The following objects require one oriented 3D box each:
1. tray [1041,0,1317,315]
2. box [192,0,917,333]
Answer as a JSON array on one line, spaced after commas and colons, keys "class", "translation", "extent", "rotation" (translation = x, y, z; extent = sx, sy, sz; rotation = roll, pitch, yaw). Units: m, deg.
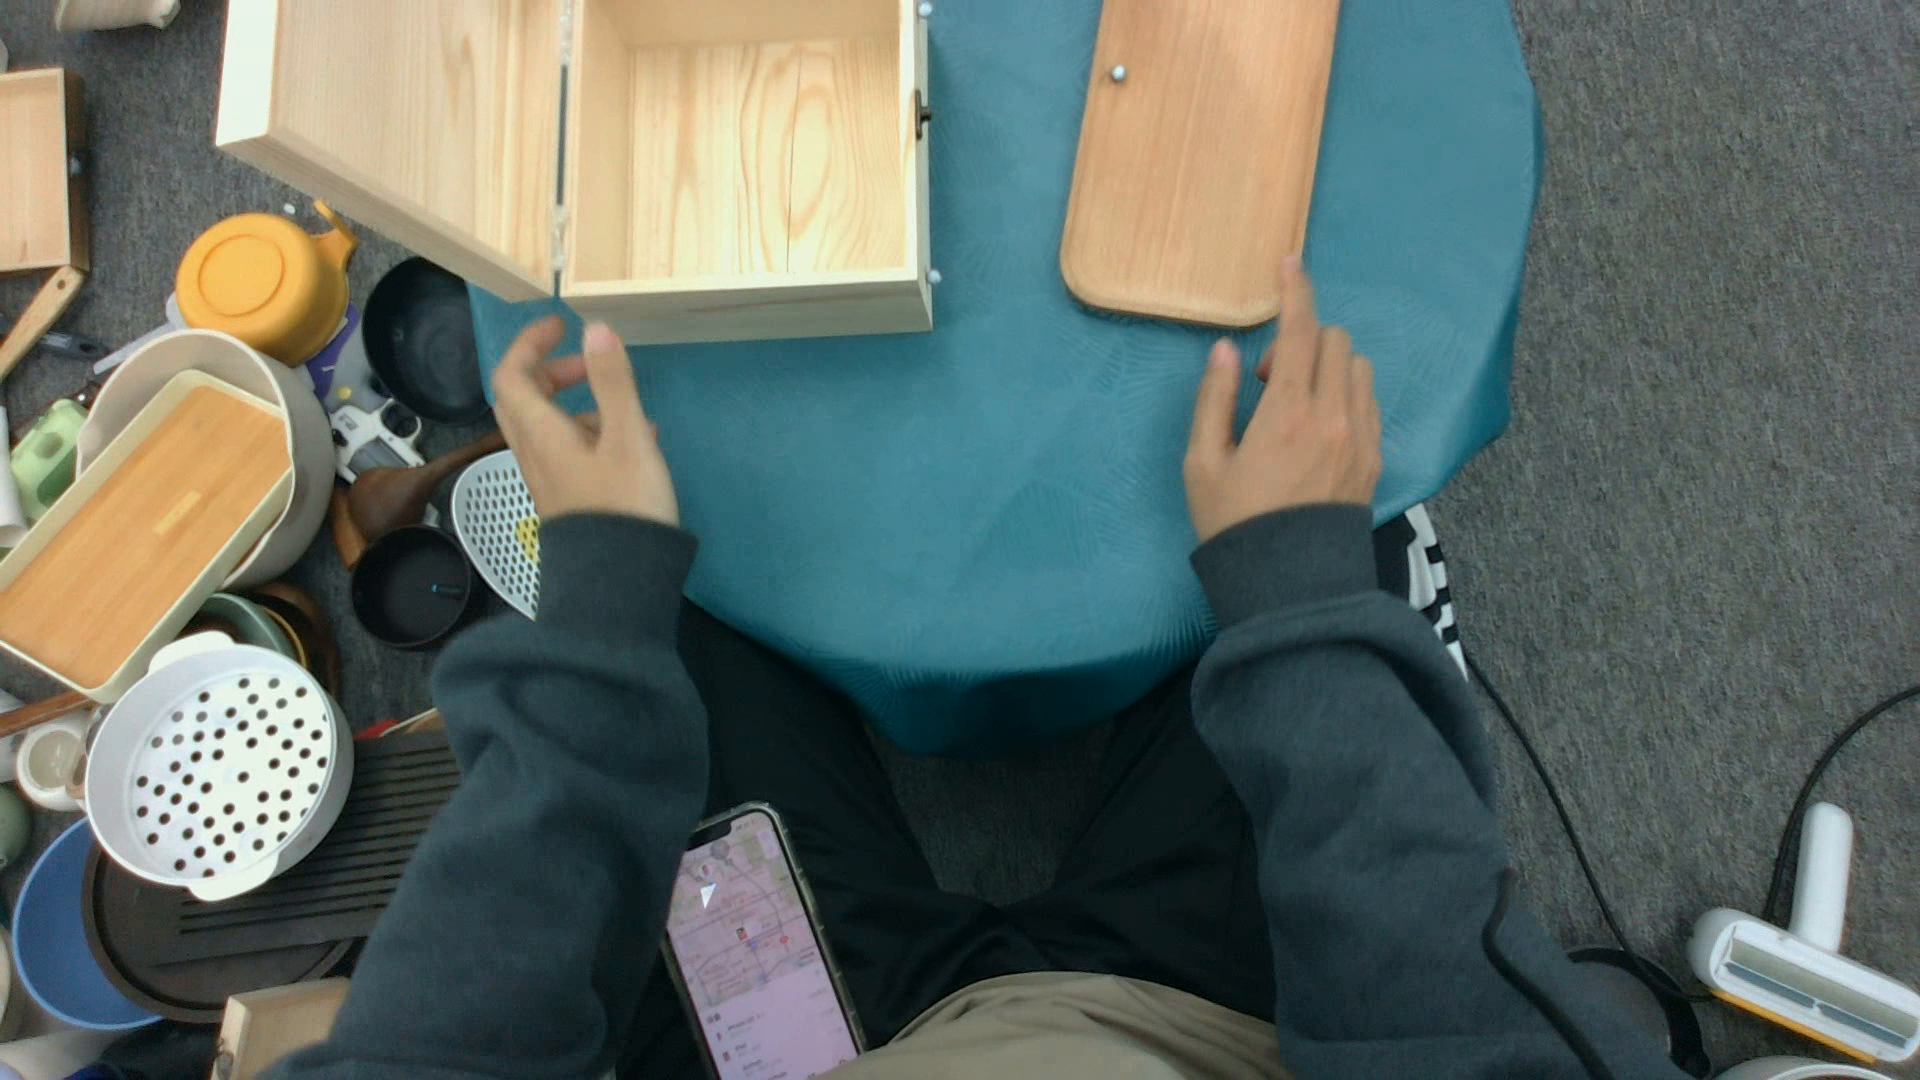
[{"class": "tray", "translation": [0.123, -0.245, 0.755], "extent": [0.130, 0.023, 0.251], "rotation": [9, 80, 8]}, {"class": "box", "translation": [-0.161, -0.224, 0.655], "extent": [0.265, 0.253, 0.182], "rotation": [-3, 82, 4]}]
